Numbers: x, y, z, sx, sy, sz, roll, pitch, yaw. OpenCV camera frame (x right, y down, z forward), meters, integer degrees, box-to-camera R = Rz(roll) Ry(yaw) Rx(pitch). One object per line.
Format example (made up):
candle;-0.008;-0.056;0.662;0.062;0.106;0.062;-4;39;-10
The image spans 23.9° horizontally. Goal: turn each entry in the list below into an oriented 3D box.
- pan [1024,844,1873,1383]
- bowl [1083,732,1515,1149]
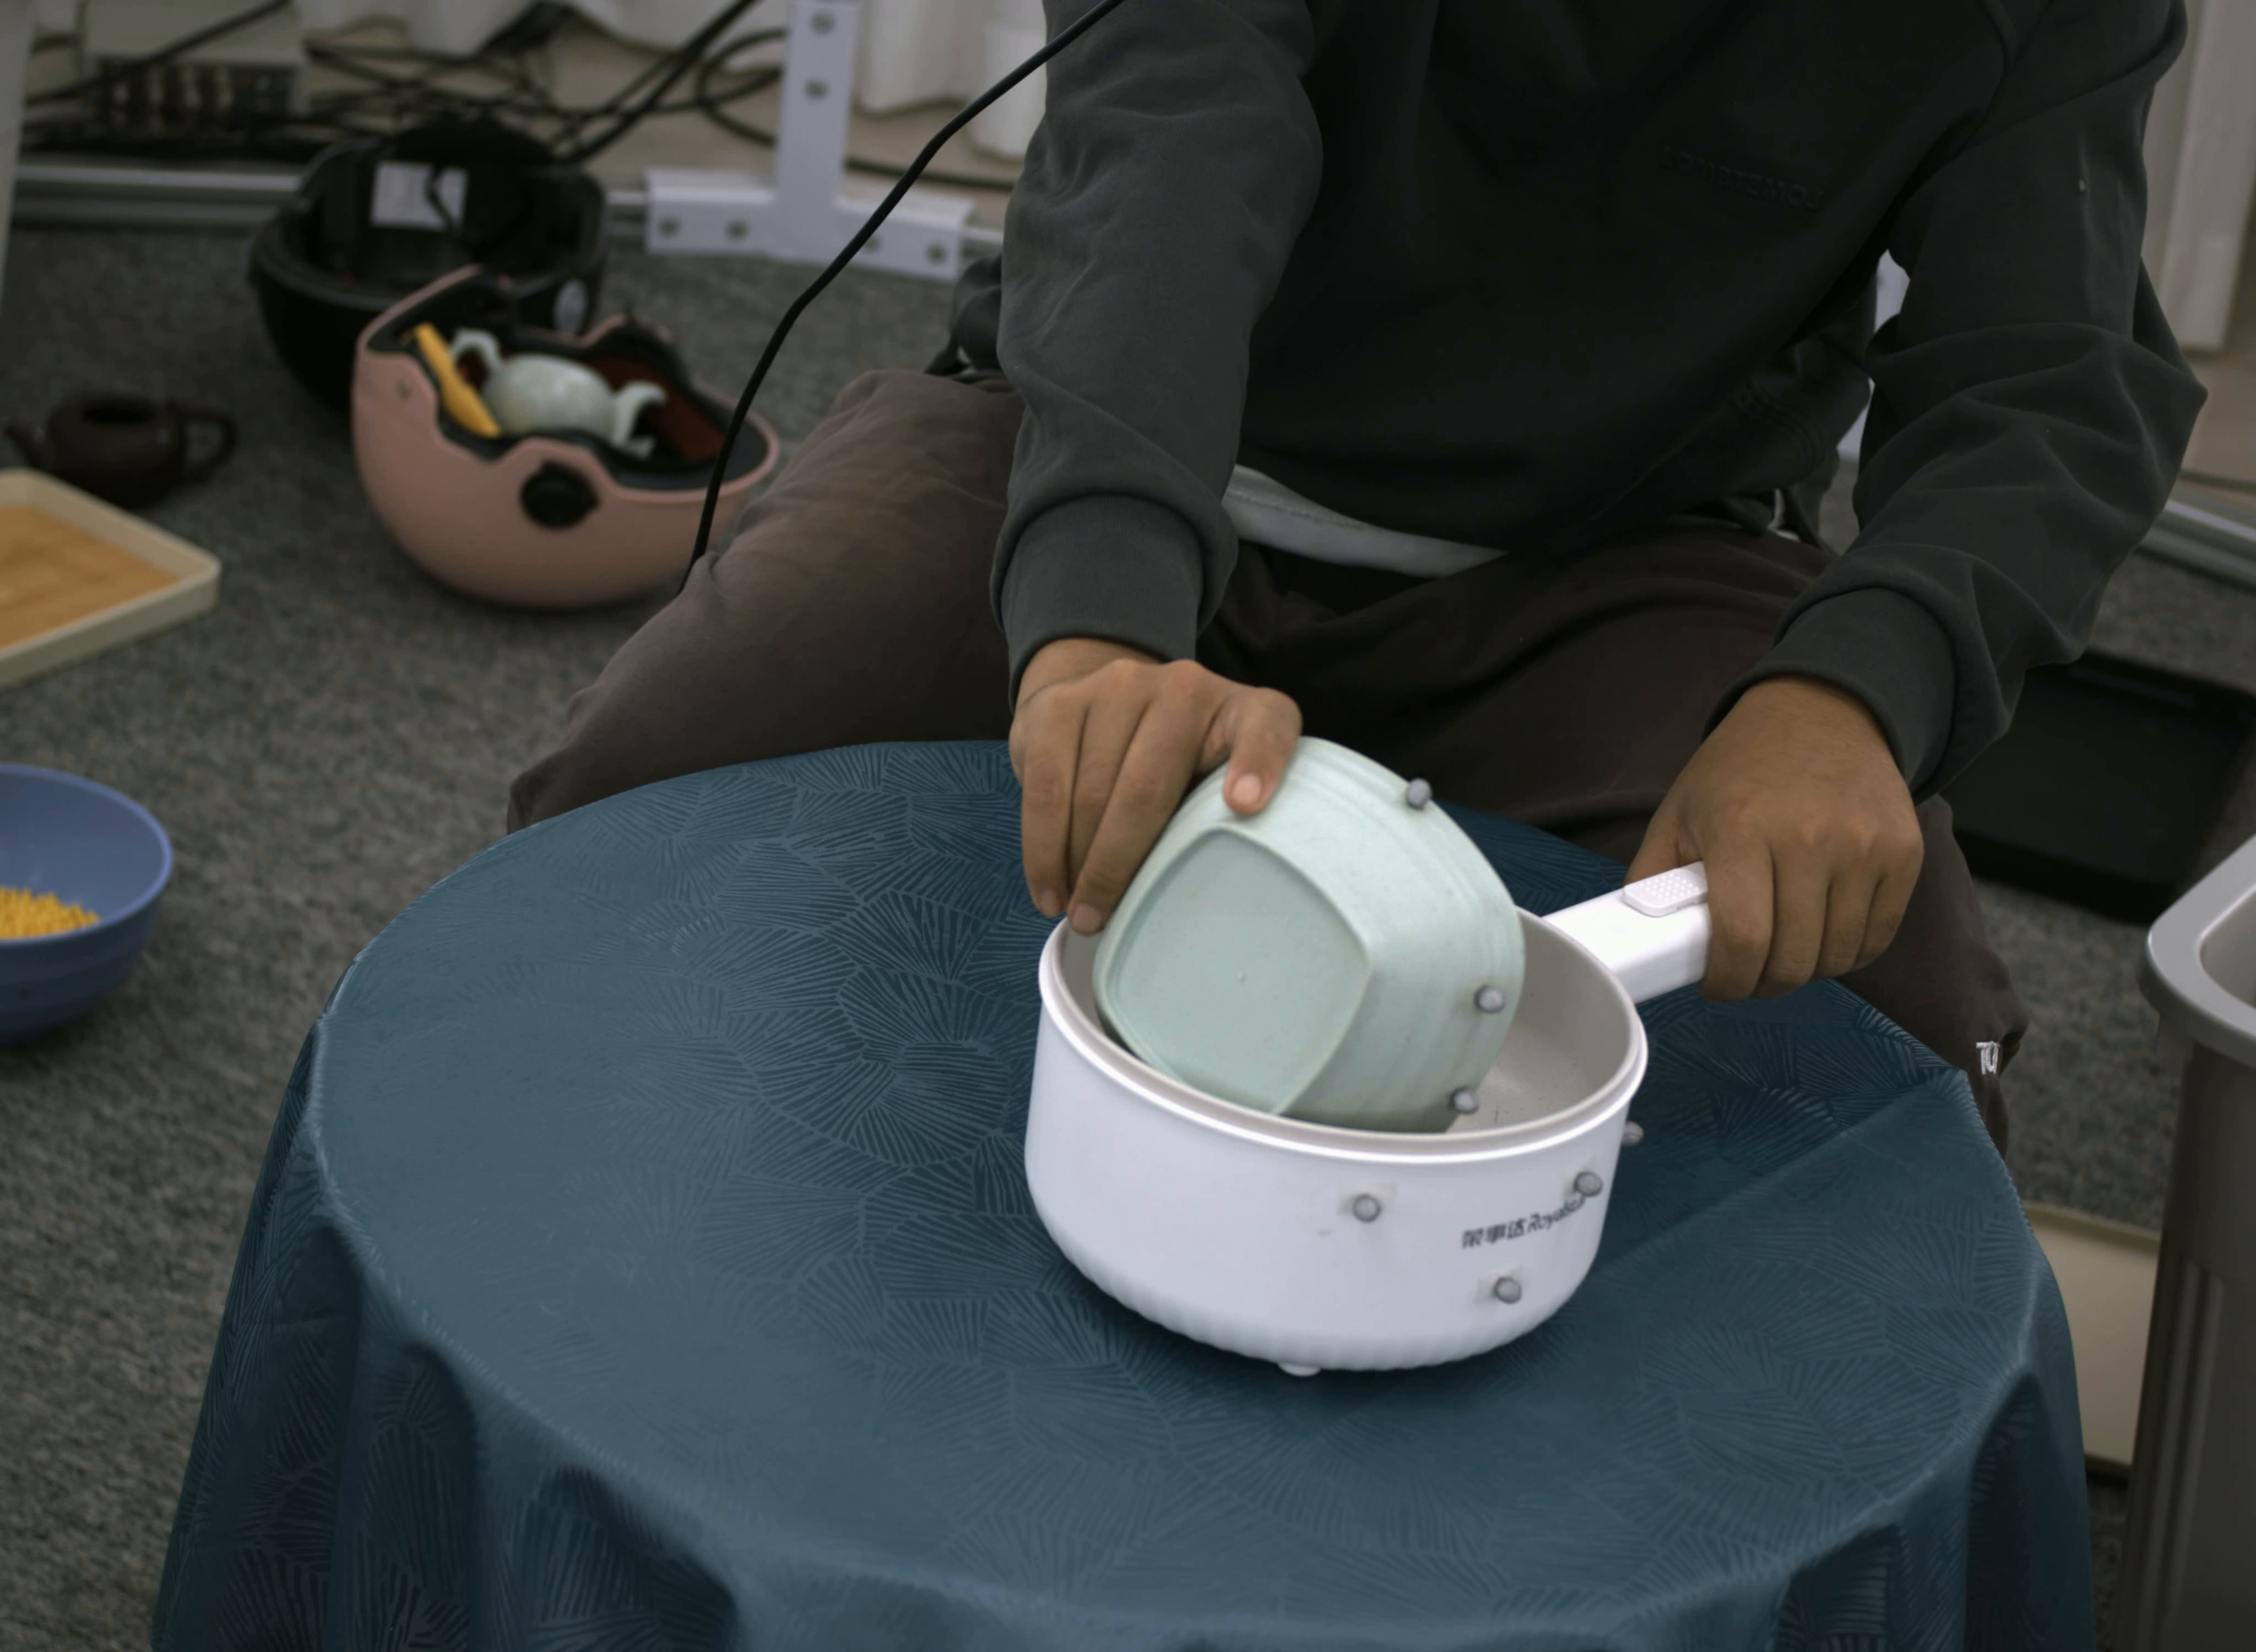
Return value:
pan;0.120;0.088;1.811;0.353;0.102;0.203;-15;31;-41
bowl;0.043;0.045;1.687;0.152;0.151;0.058;23;10;28
